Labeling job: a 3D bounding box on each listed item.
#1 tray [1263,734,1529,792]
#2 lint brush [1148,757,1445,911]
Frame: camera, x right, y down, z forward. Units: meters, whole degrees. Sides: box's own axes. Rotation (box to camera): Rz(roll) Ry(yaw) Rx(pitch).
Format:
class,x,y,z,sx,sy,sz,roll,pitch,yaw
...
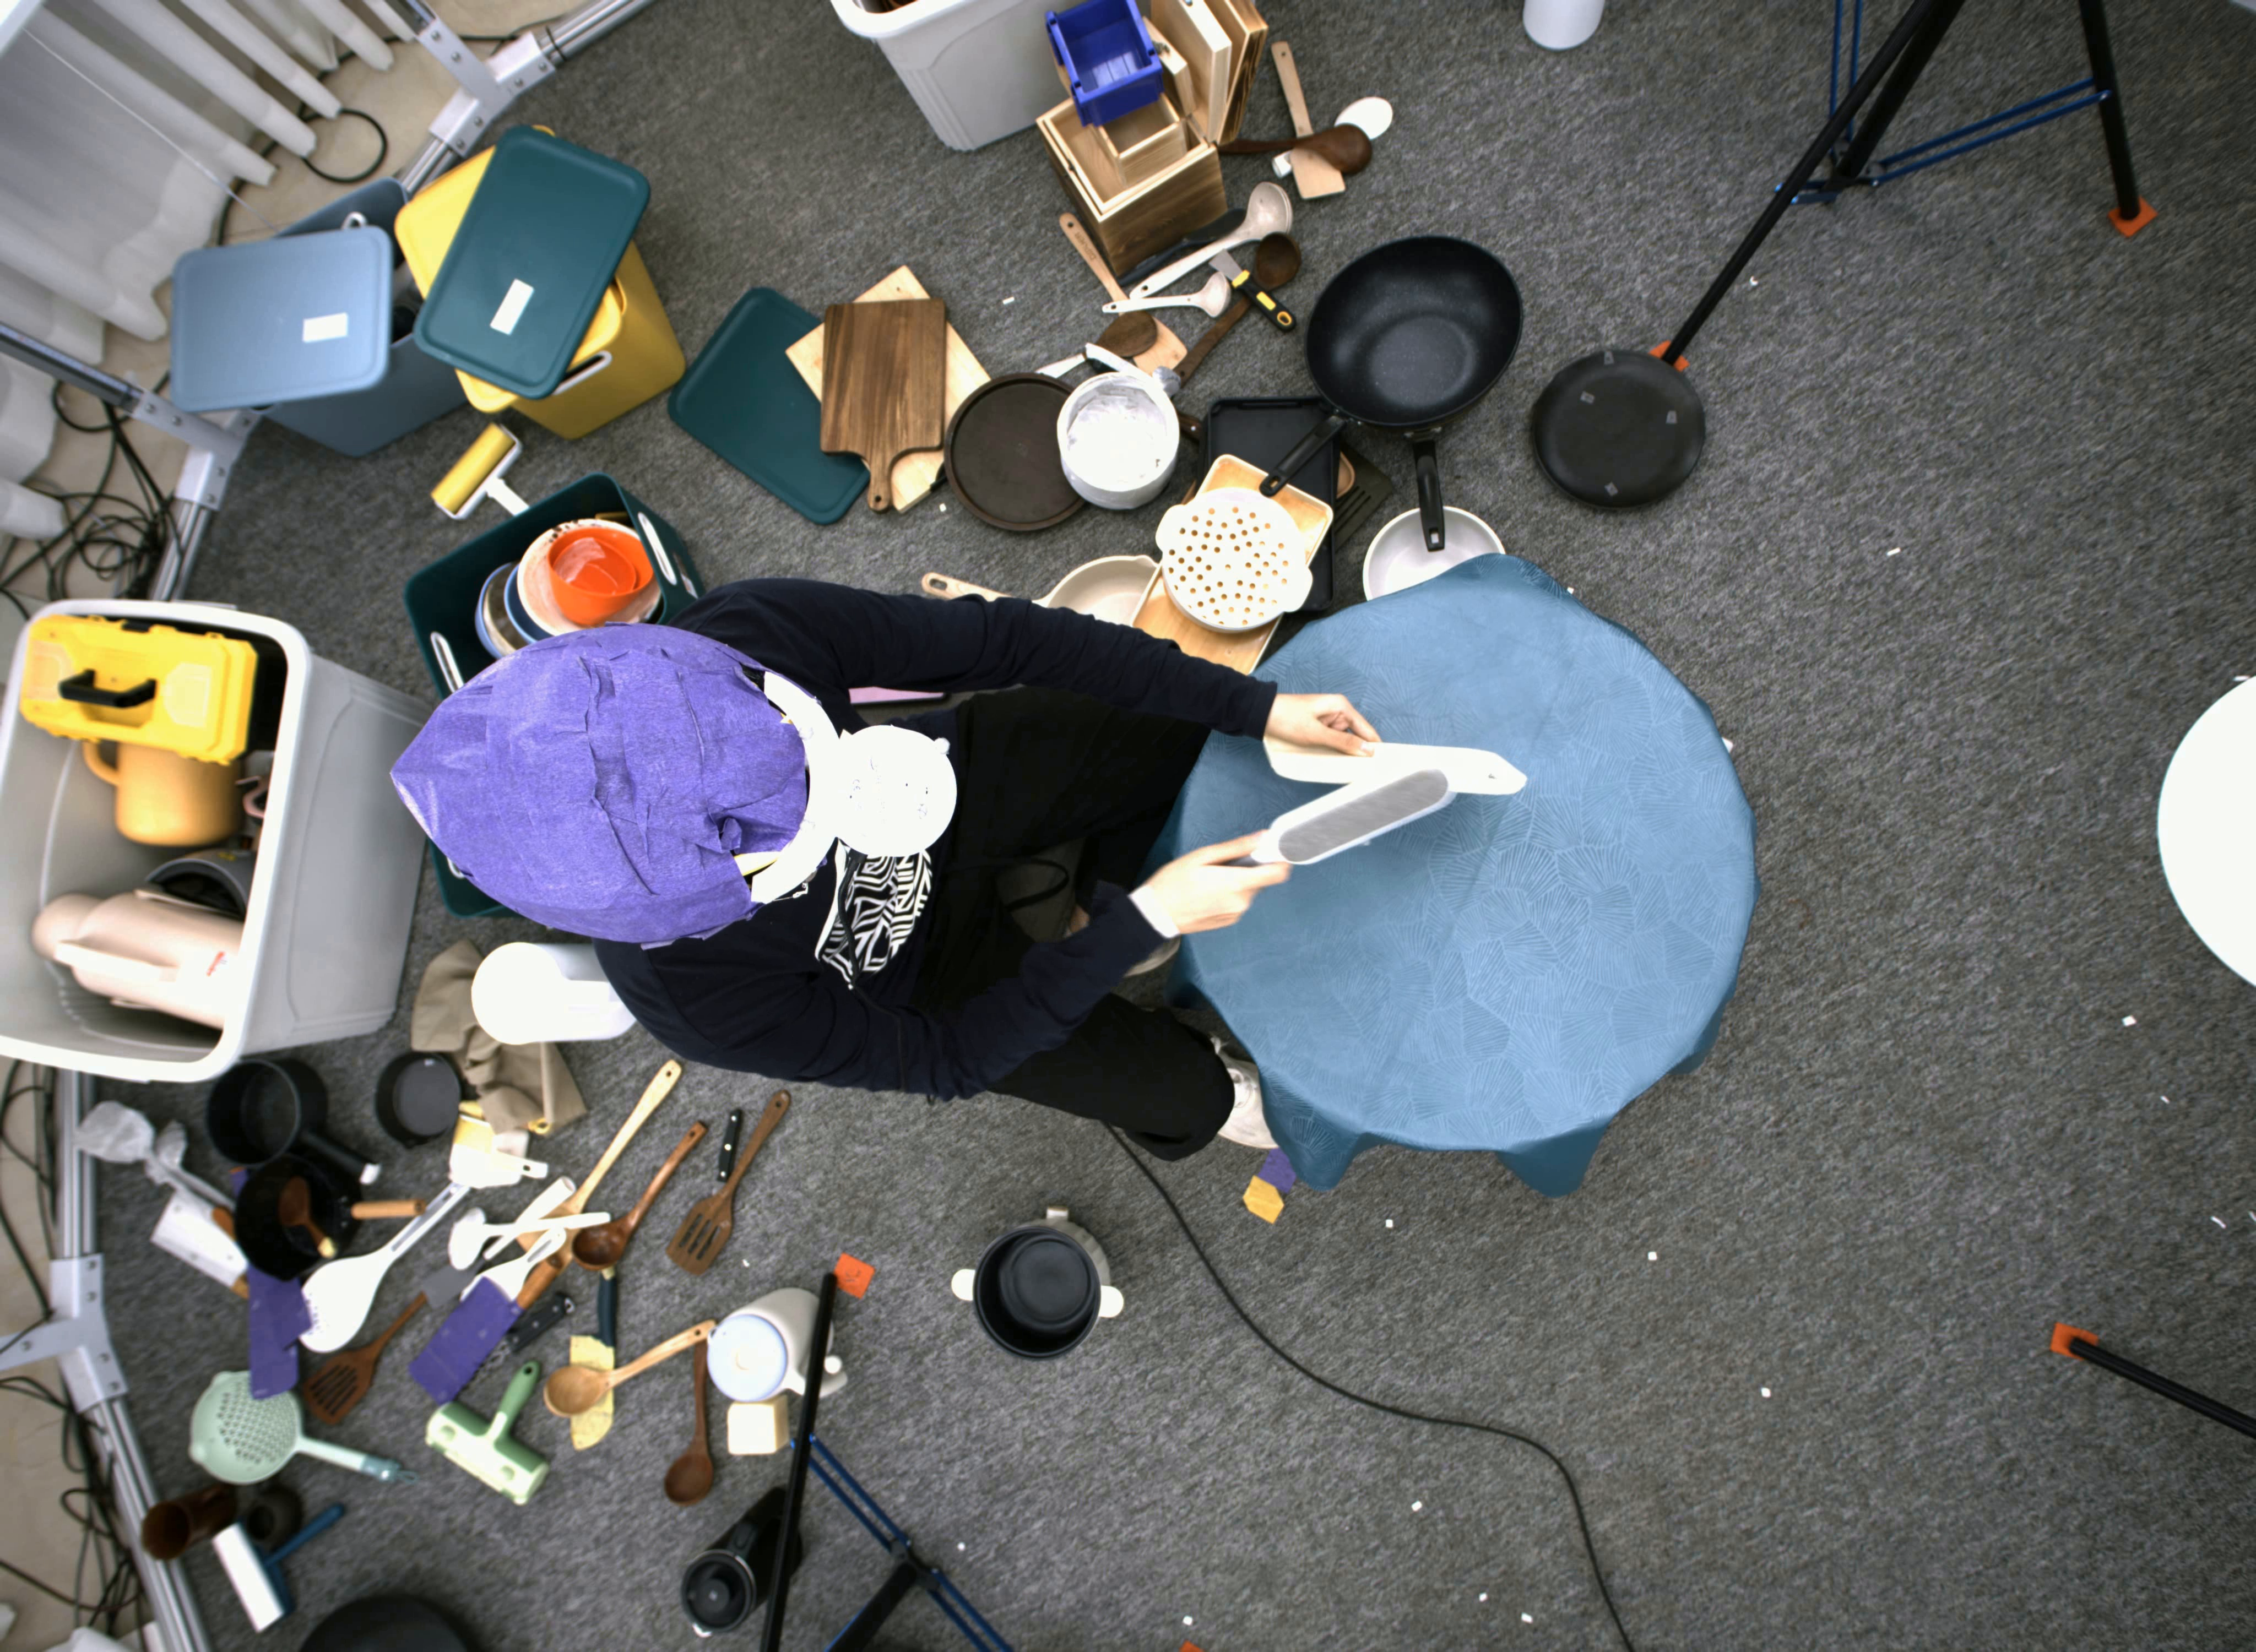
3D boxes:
class,x,y,z,sx,sy,sz,roll,pitch,yaw
tray,0.253,-0.062,1.327,0.240,0.169,0.018,4,103,0
lint brush,0.150,0.011,1.284,0.313,0.061,0.020,-26,42,23
